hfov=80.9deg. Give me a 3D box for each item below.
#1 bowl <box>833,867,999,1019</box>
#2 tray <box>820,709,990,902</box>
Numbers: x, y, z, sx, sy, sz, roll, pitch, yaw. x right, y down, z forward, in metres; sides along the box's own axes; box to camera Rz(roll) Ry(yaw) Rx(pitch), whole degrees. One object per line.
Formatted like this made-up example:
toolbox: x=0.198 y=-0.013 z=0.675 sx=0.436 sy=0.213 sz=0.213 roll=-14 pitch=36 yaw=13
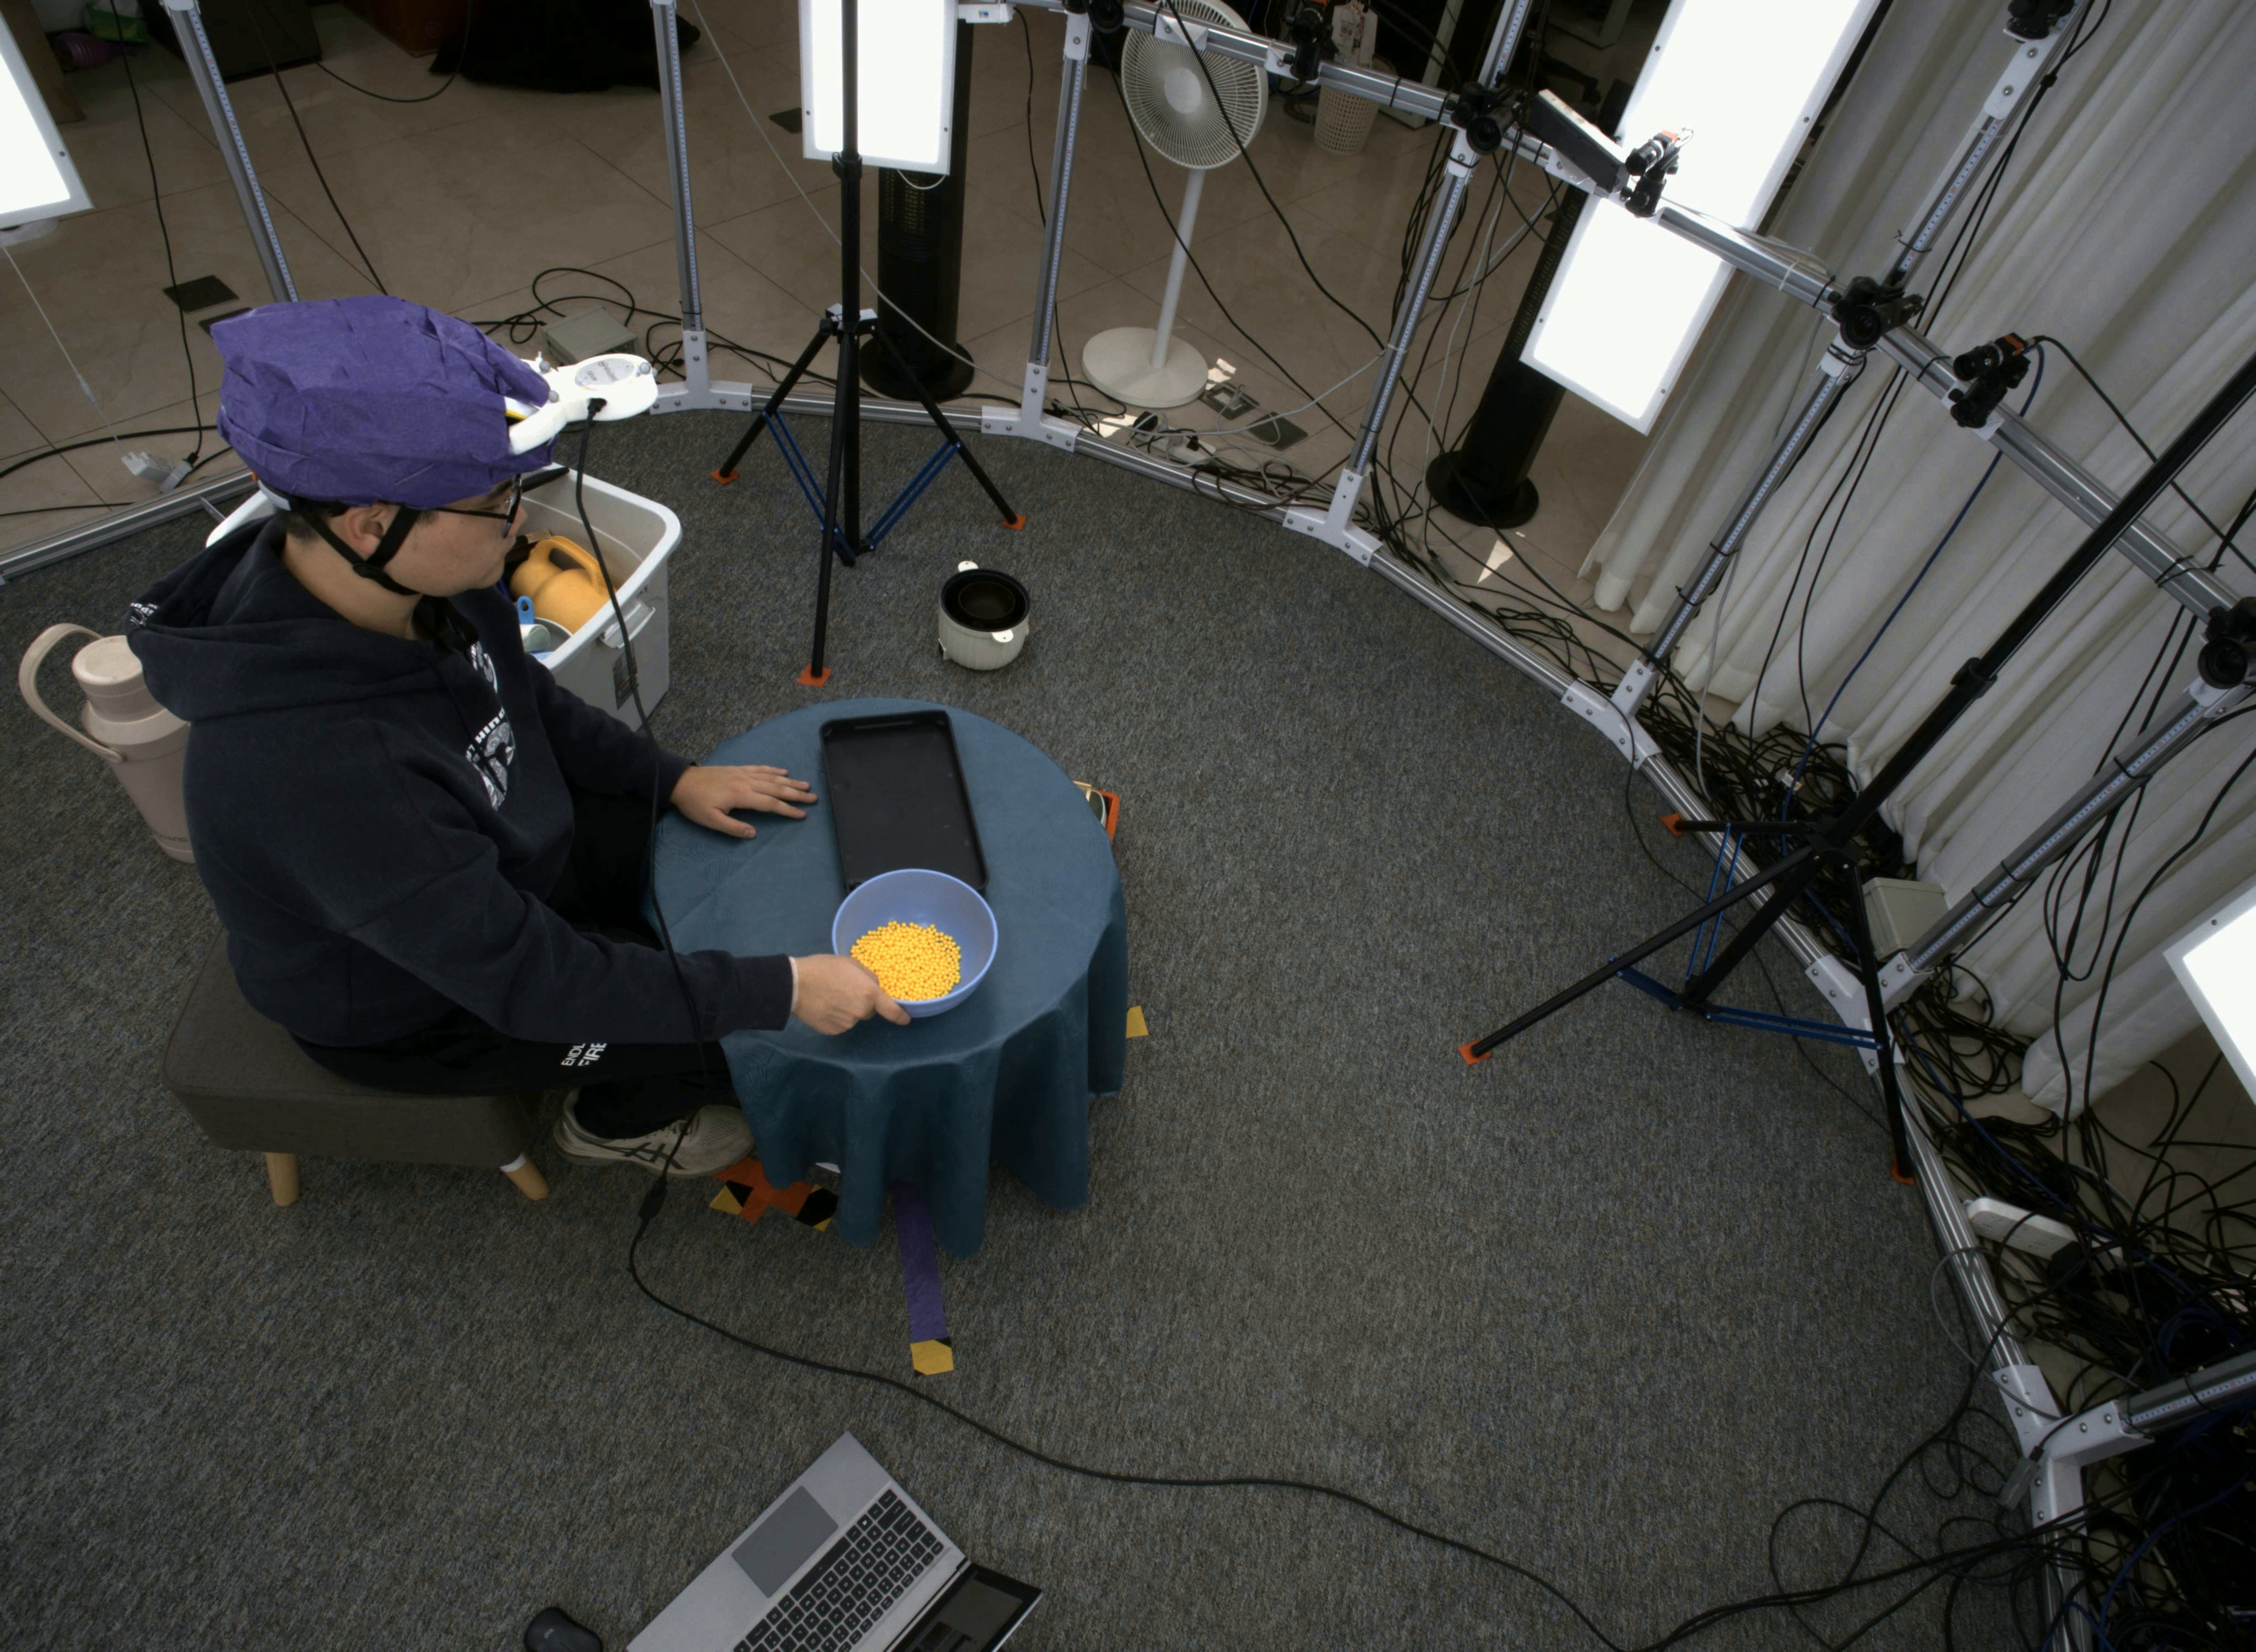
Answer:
bowl: x=-0.258 y=0.156 z=1.581 sx=0.196 sy=0.097 sz=0.193 roll=8 pitch=51 yaw=-9
tray: x=-0.303 y=-0.023 z=1.744 sx=0.185 sy=0.038 sz=0.310 roll=-6 pitch=55 yaw=-18
